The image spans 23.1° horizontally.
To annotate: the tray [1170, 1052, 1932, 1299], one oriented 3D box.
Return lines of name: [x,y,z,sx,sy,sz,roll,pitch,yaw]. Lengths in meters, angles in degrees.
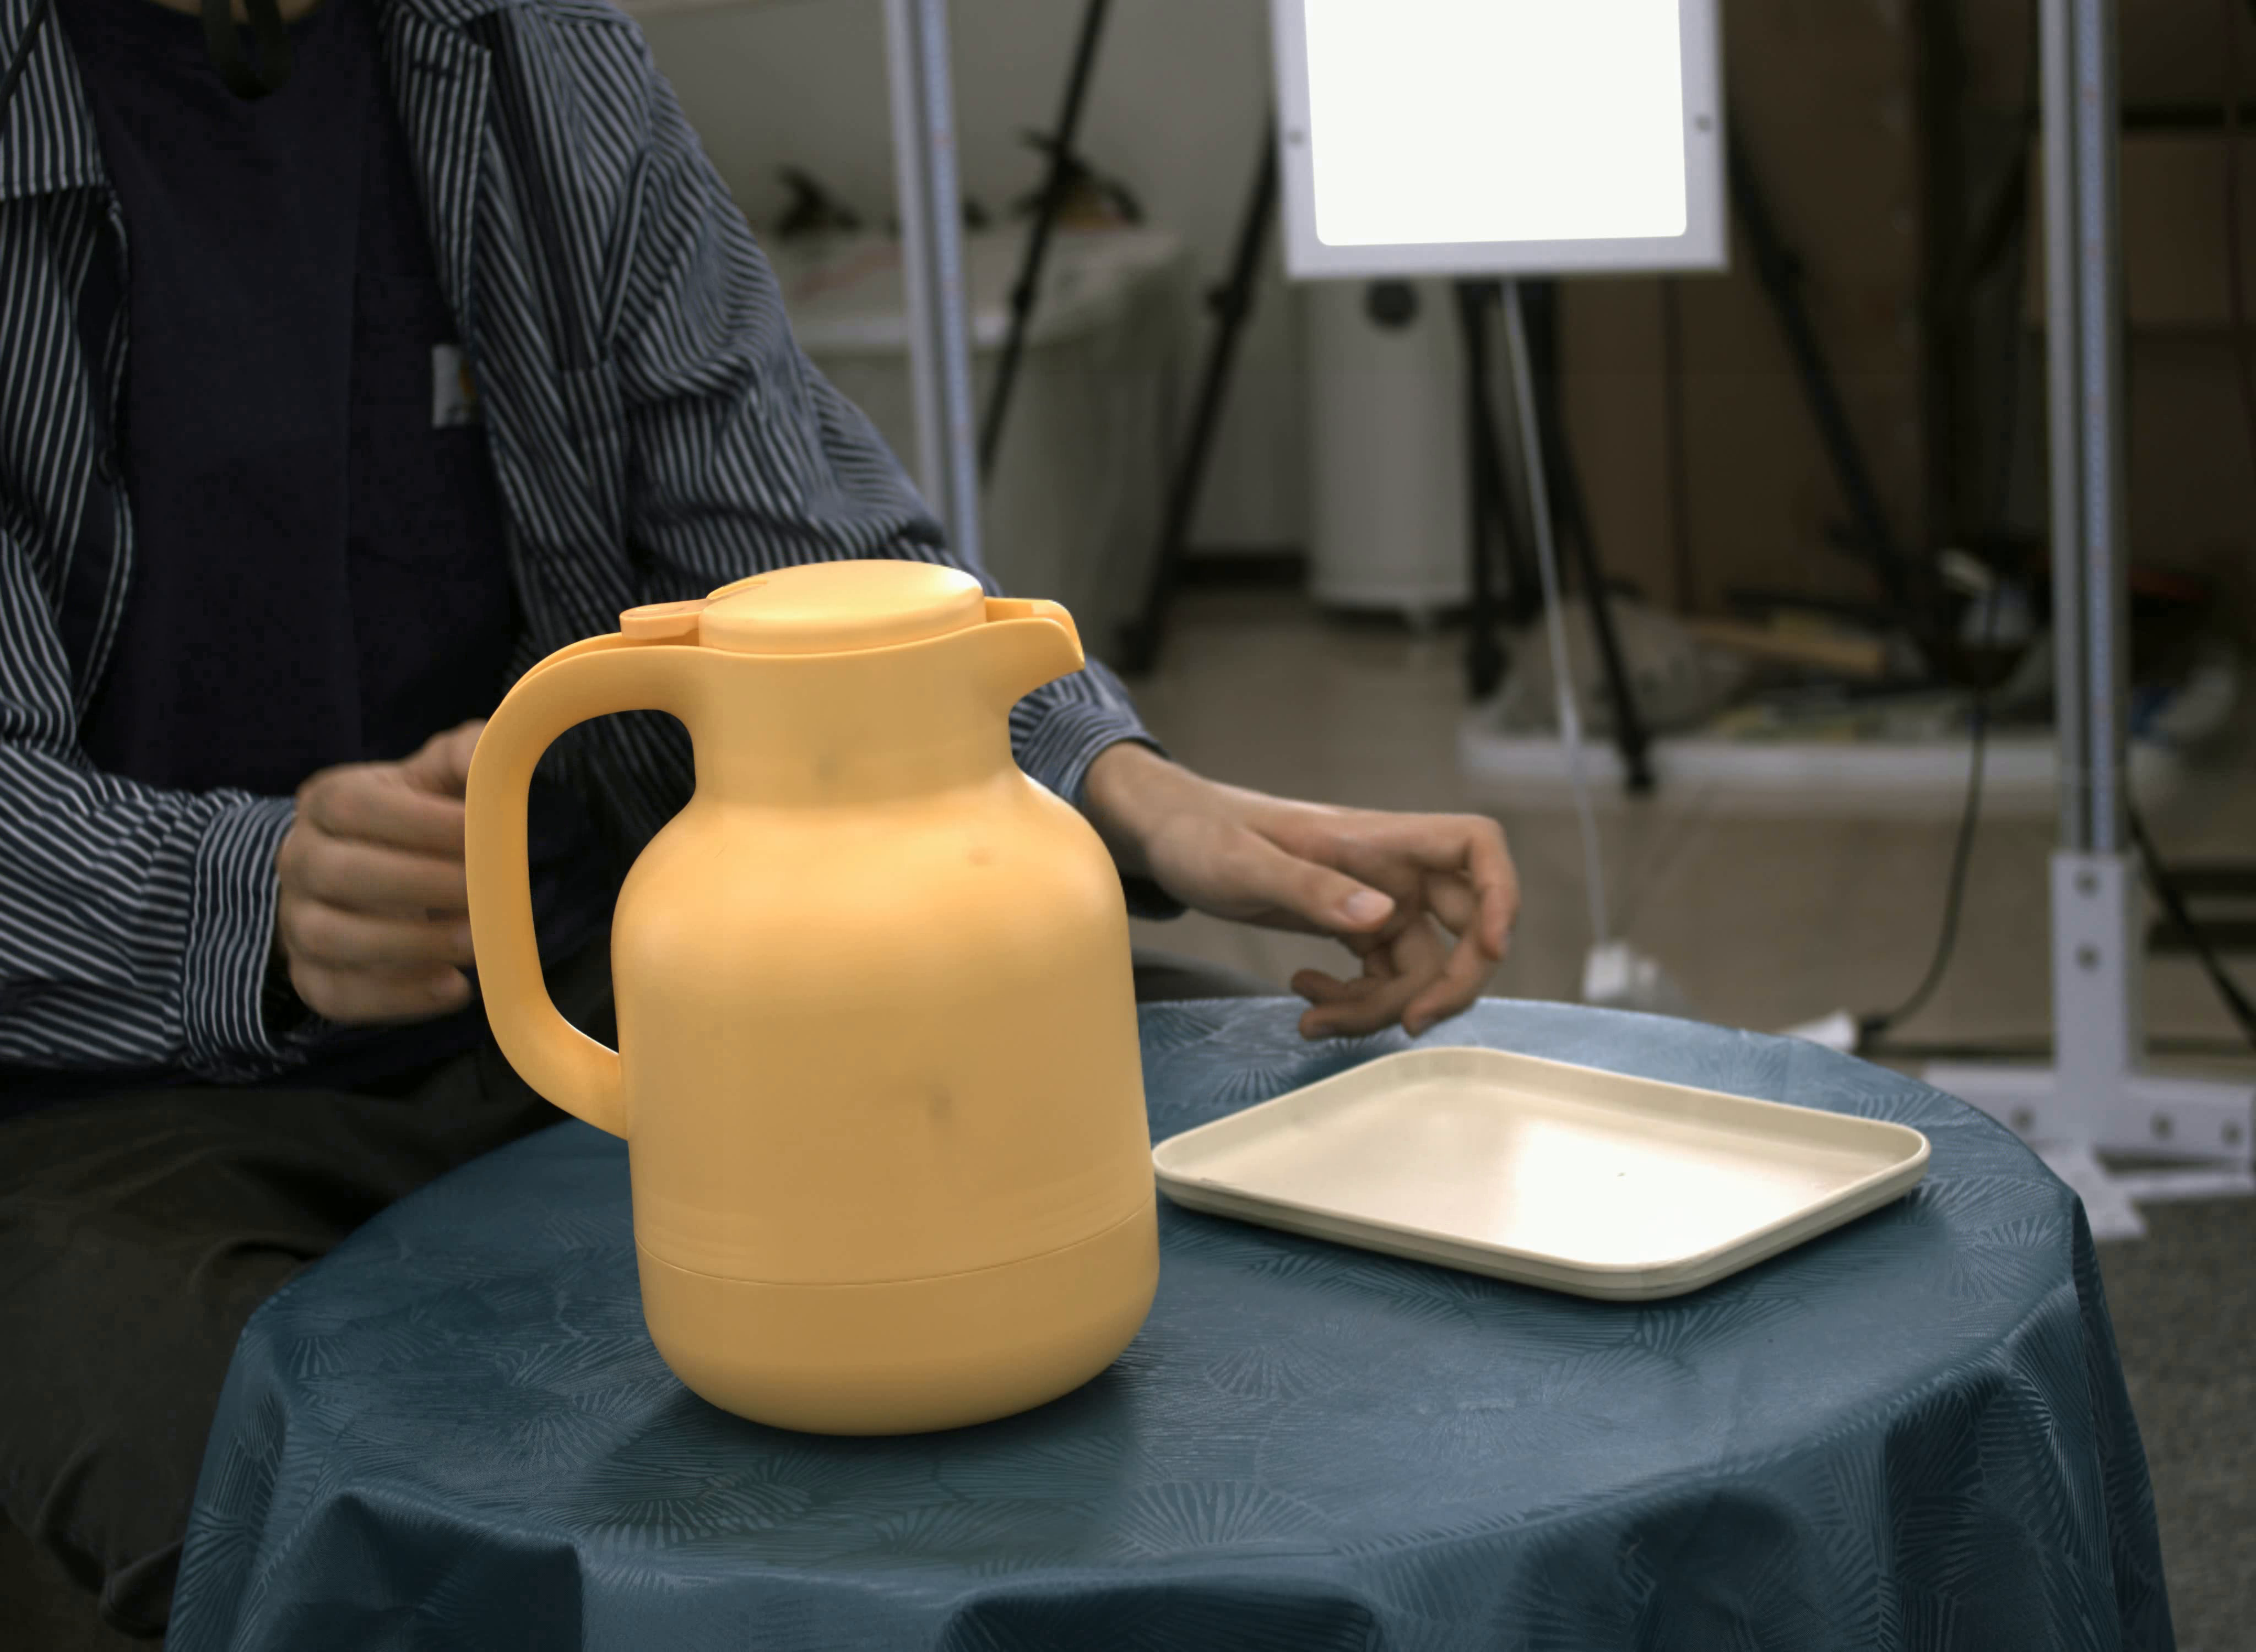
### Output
tray: [0.138,0.116,1.847,0.167,0.017,0.245,-17,18,-42]

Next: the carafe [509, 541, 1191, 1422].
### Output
carafe: [-0.086,0.045,1.707,0.202,0.261,0.163,-4,12,2]
